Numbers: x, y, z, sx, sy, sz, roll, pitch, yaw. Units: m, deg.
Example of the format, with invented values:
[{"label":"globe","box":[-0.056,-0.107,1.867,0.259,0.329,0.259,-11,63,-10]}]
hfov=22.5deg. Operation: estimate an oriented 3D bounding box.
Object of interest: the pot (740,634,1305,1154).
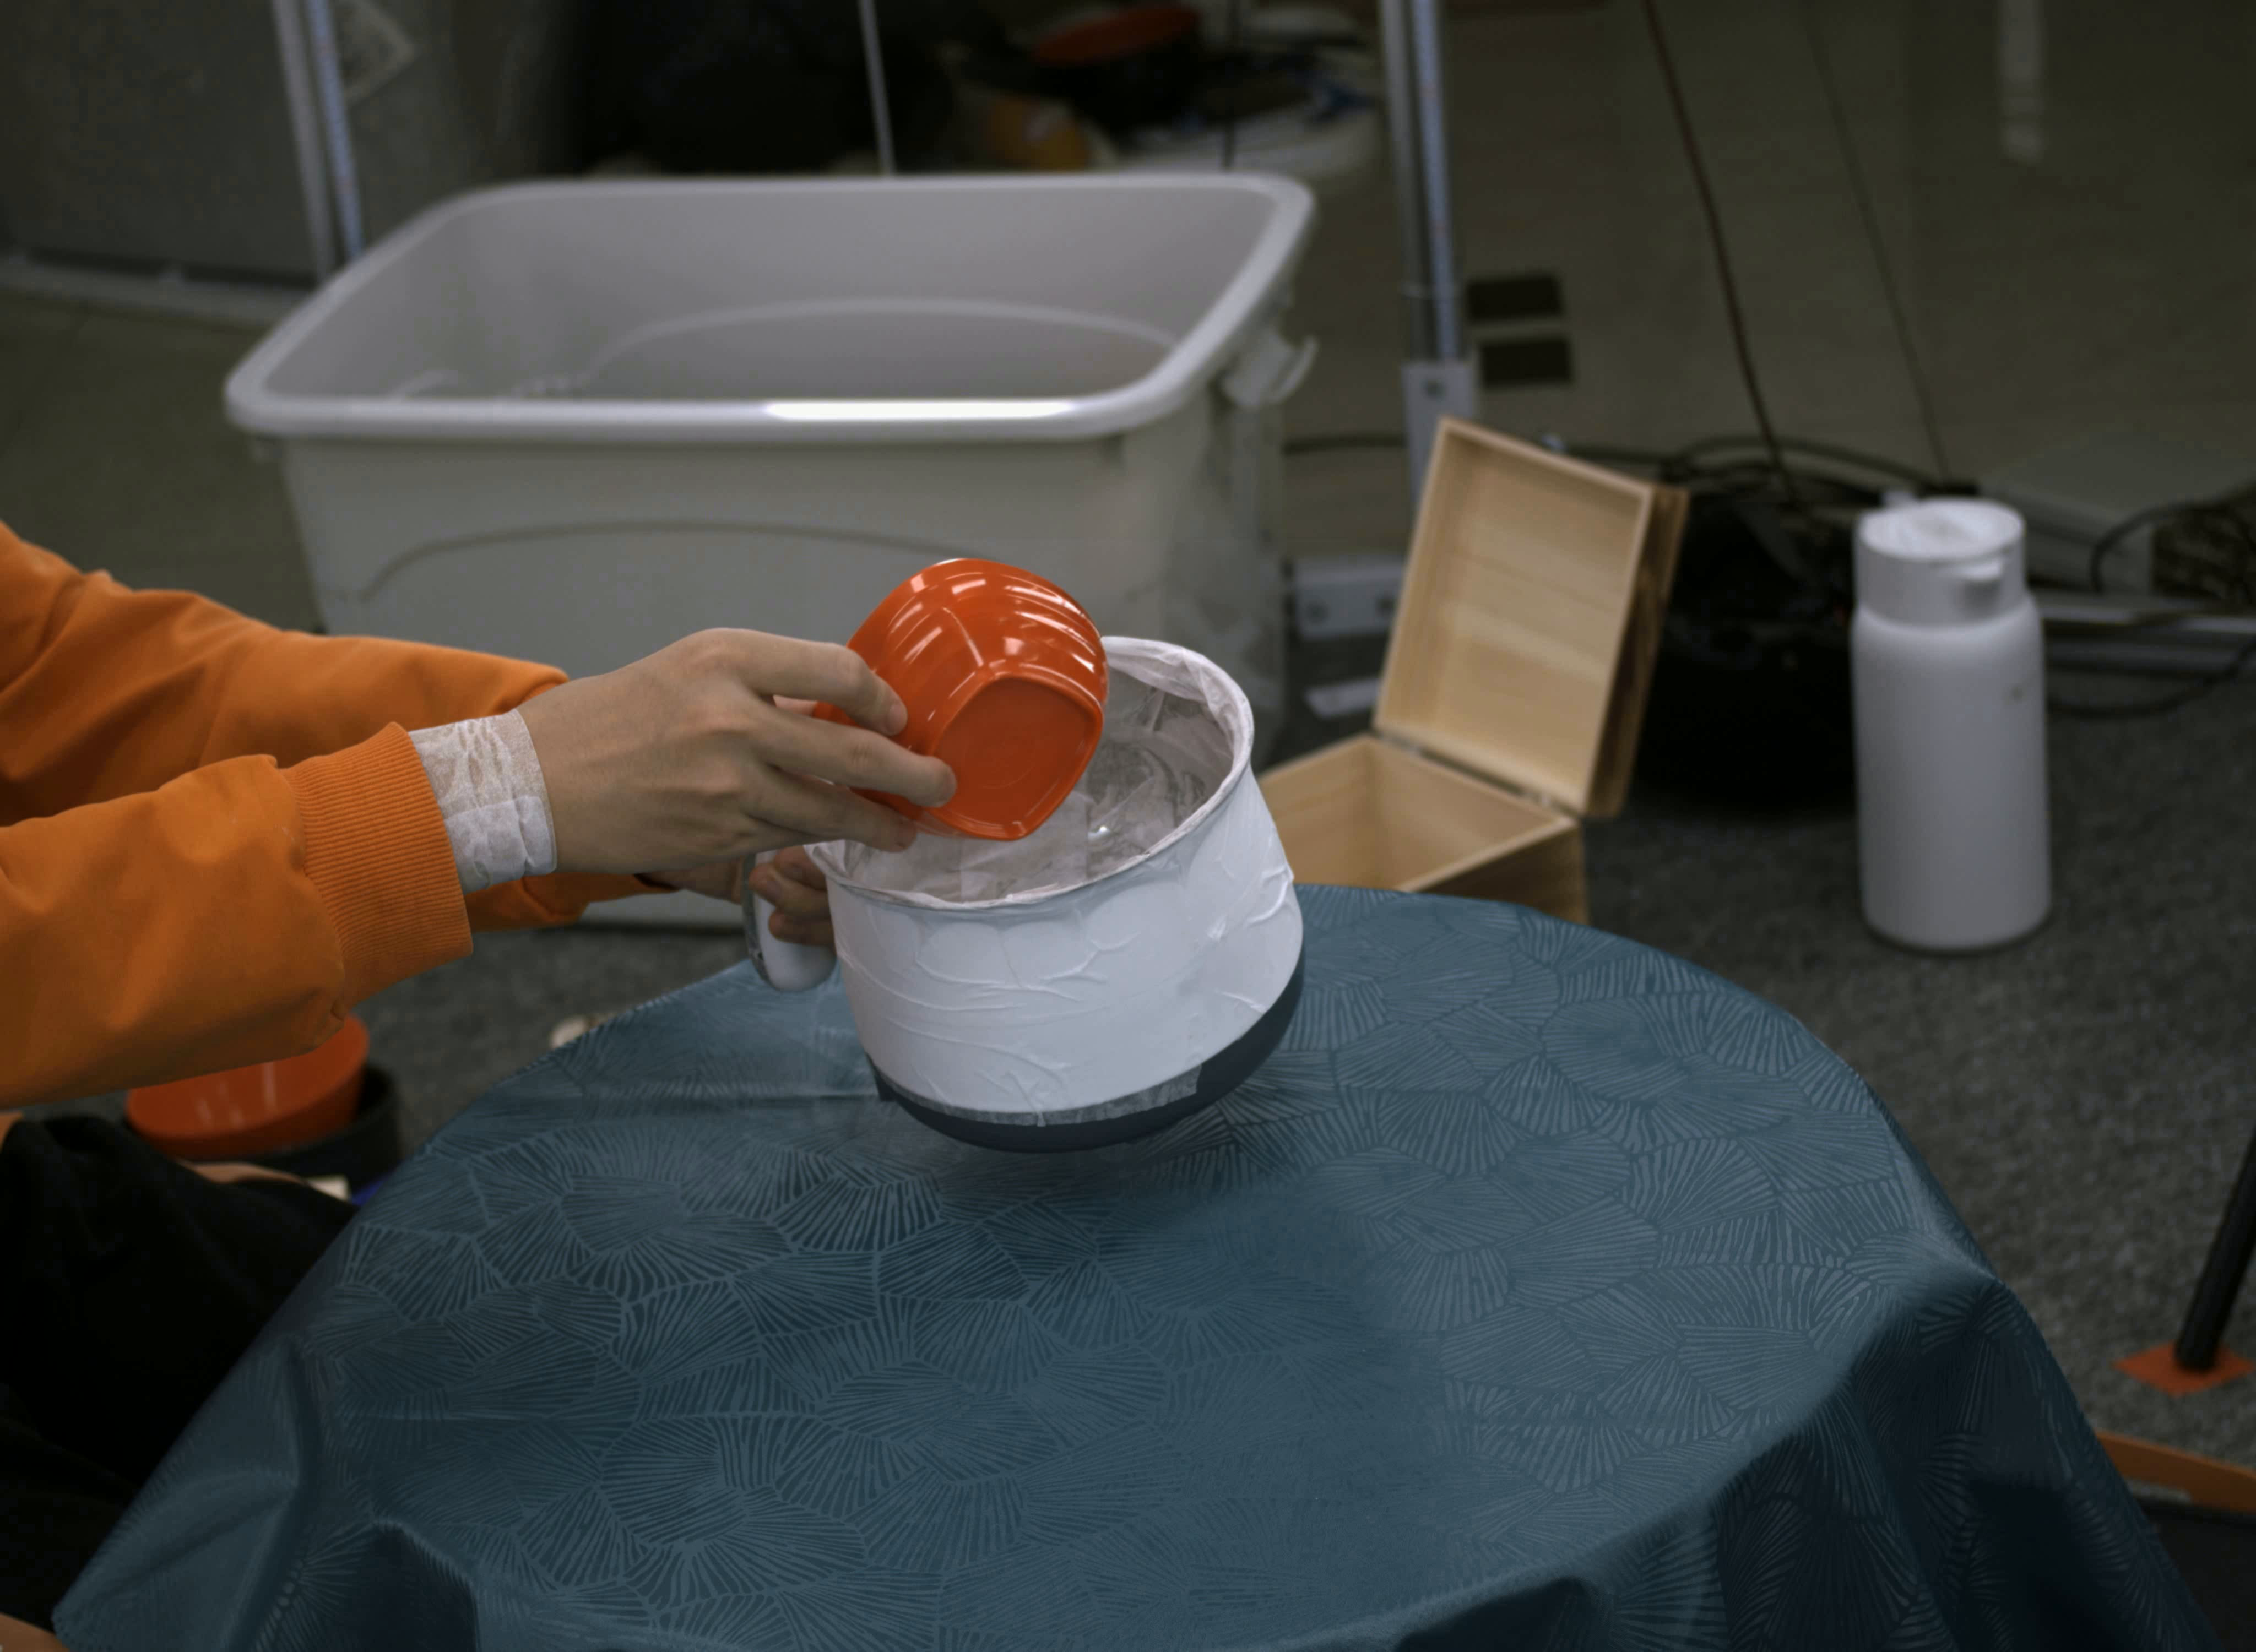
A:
[{"label":"pot","box":[-0.050,0.027,2.170,0.233,0.139,0.176,5,38,27]}]

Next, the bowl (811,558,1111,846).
[{"label":"bowl","box":[-0.053,-0.036,2.085,0.118,0.121,0.050,-16,39,-21]}]
